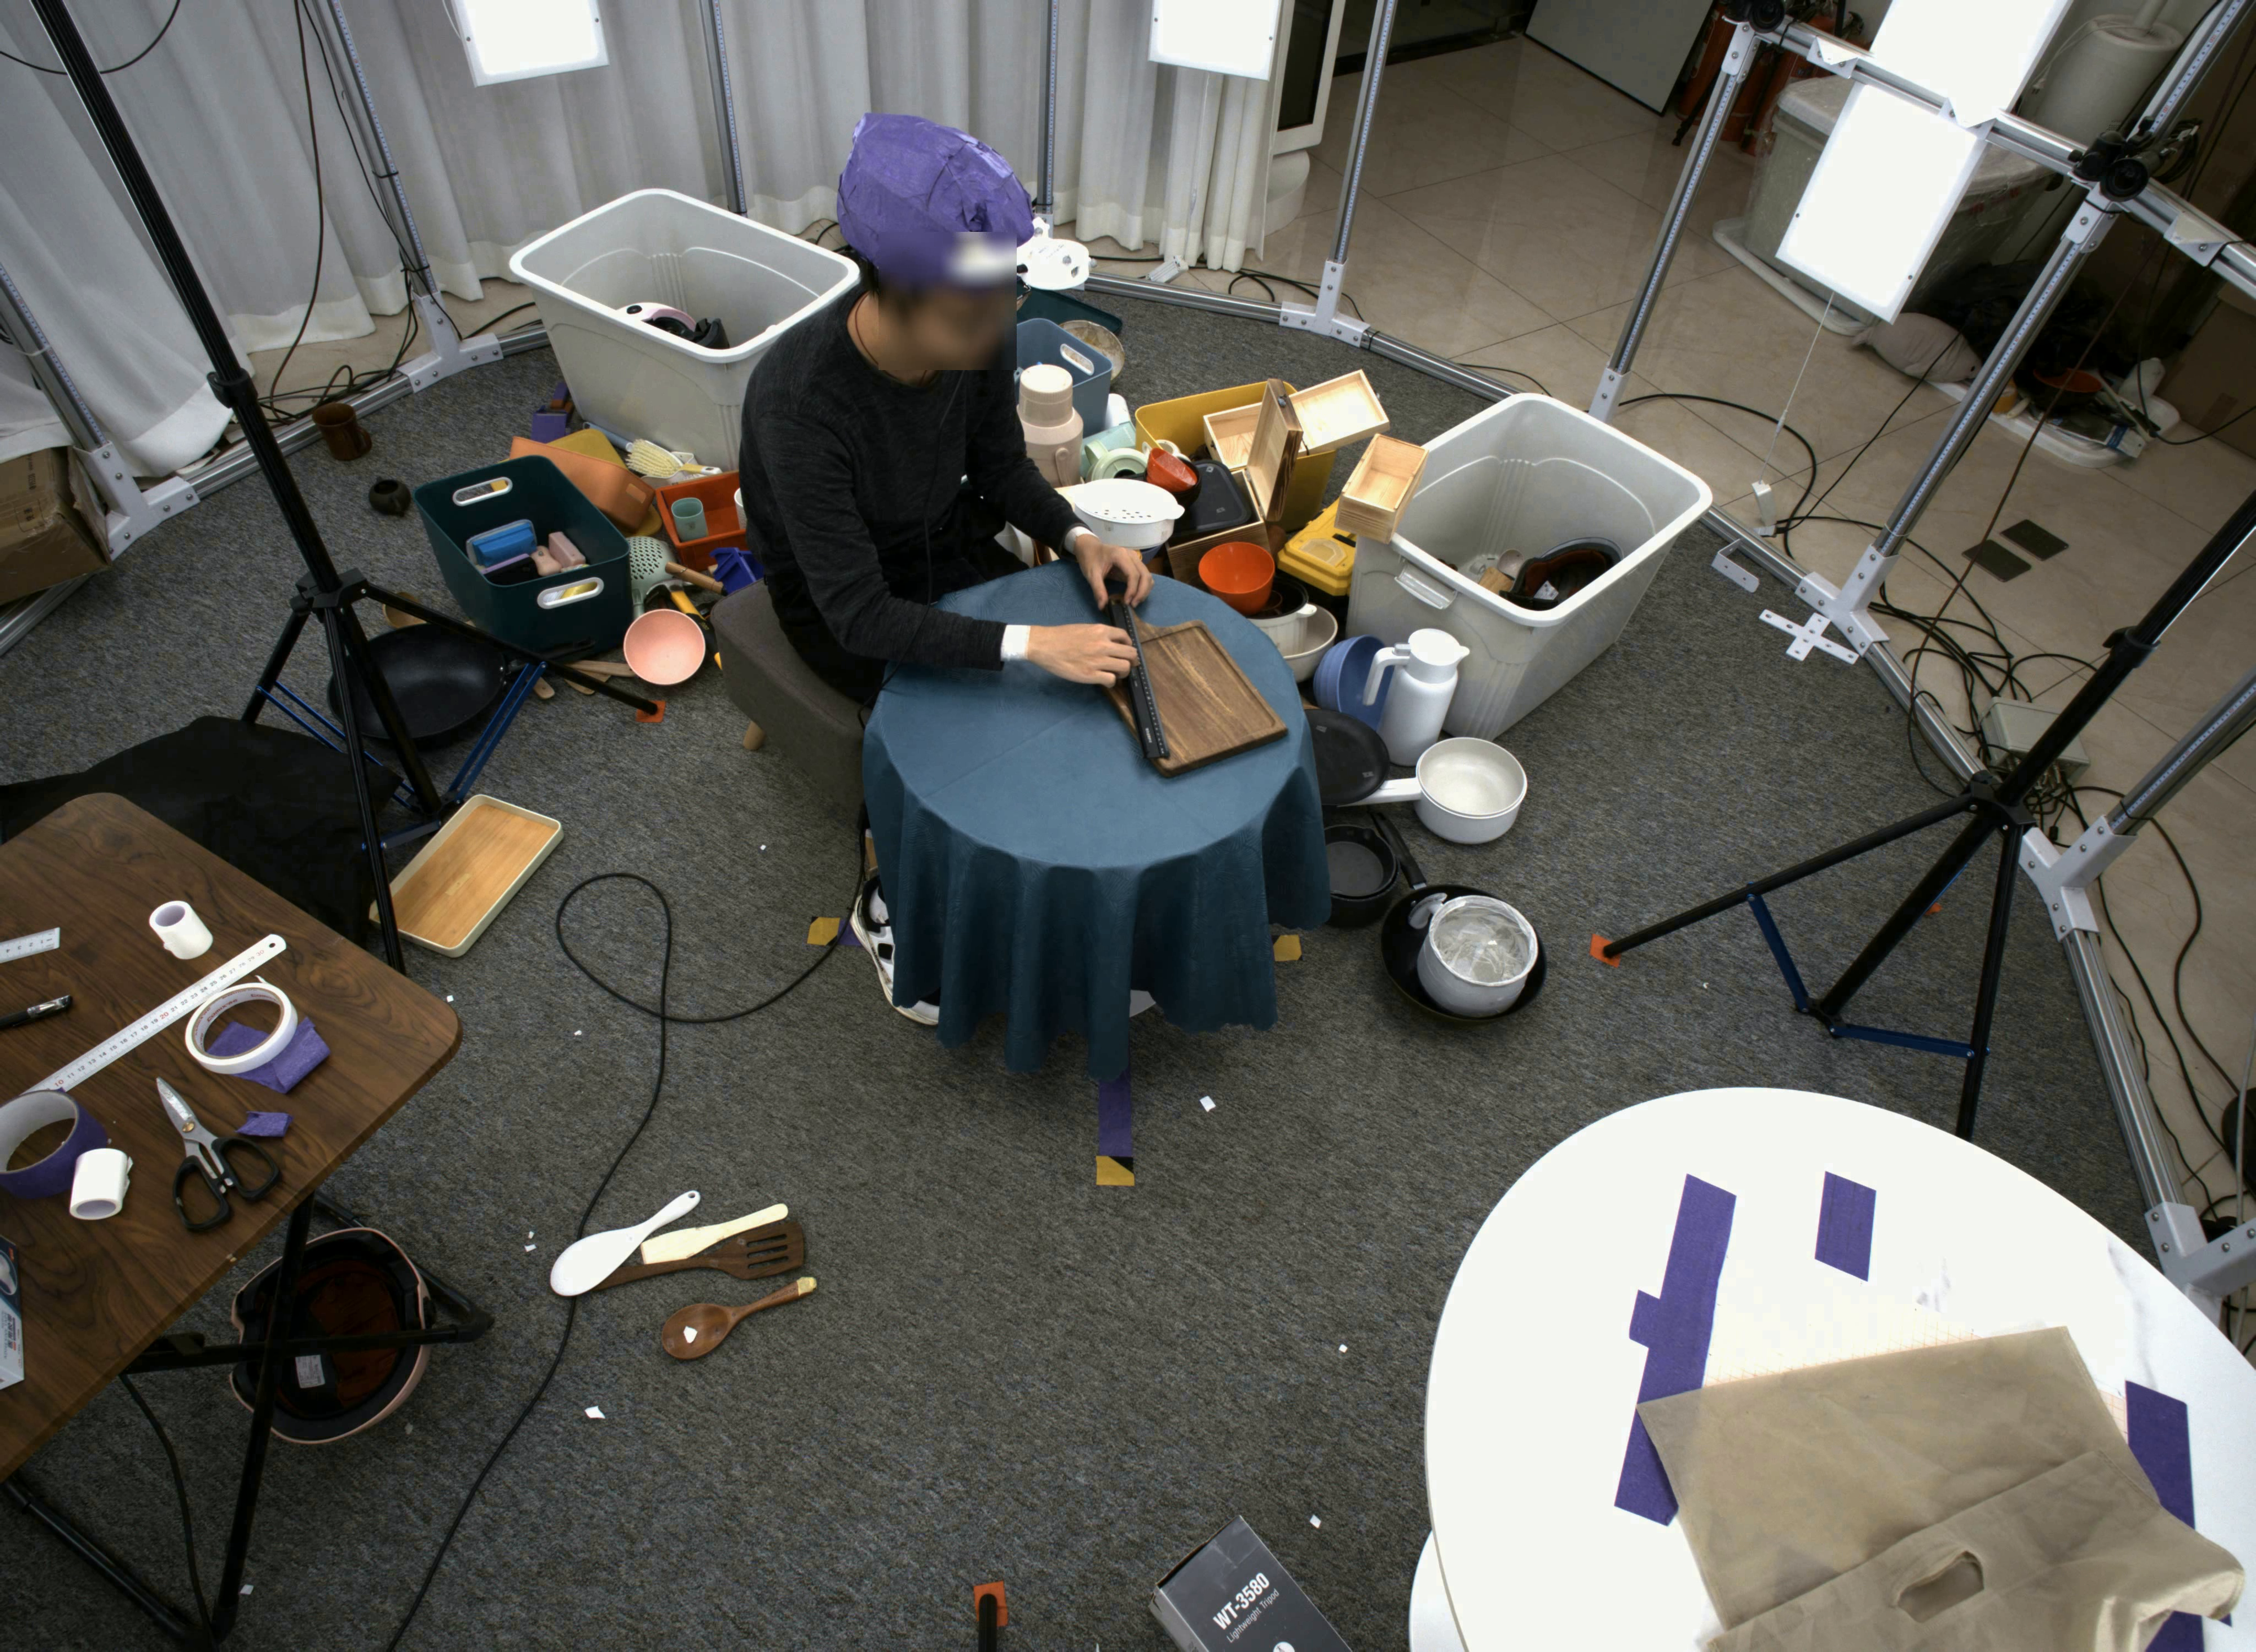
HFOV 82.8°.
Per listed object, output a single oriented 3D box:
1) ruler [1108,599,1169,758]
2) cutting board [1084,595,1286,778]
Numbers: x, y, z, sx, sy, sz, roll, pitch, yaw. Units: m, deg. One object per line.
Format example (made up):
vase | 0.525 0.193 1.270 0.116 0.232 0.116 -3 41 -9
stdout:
ruler | 0.014 -0.216 1.823 0.039 0.017 0.320 -4 49 -10
cutting board | 0.056 -0.222 1.853 0.201 0.022 0.360 -20 53 -20
